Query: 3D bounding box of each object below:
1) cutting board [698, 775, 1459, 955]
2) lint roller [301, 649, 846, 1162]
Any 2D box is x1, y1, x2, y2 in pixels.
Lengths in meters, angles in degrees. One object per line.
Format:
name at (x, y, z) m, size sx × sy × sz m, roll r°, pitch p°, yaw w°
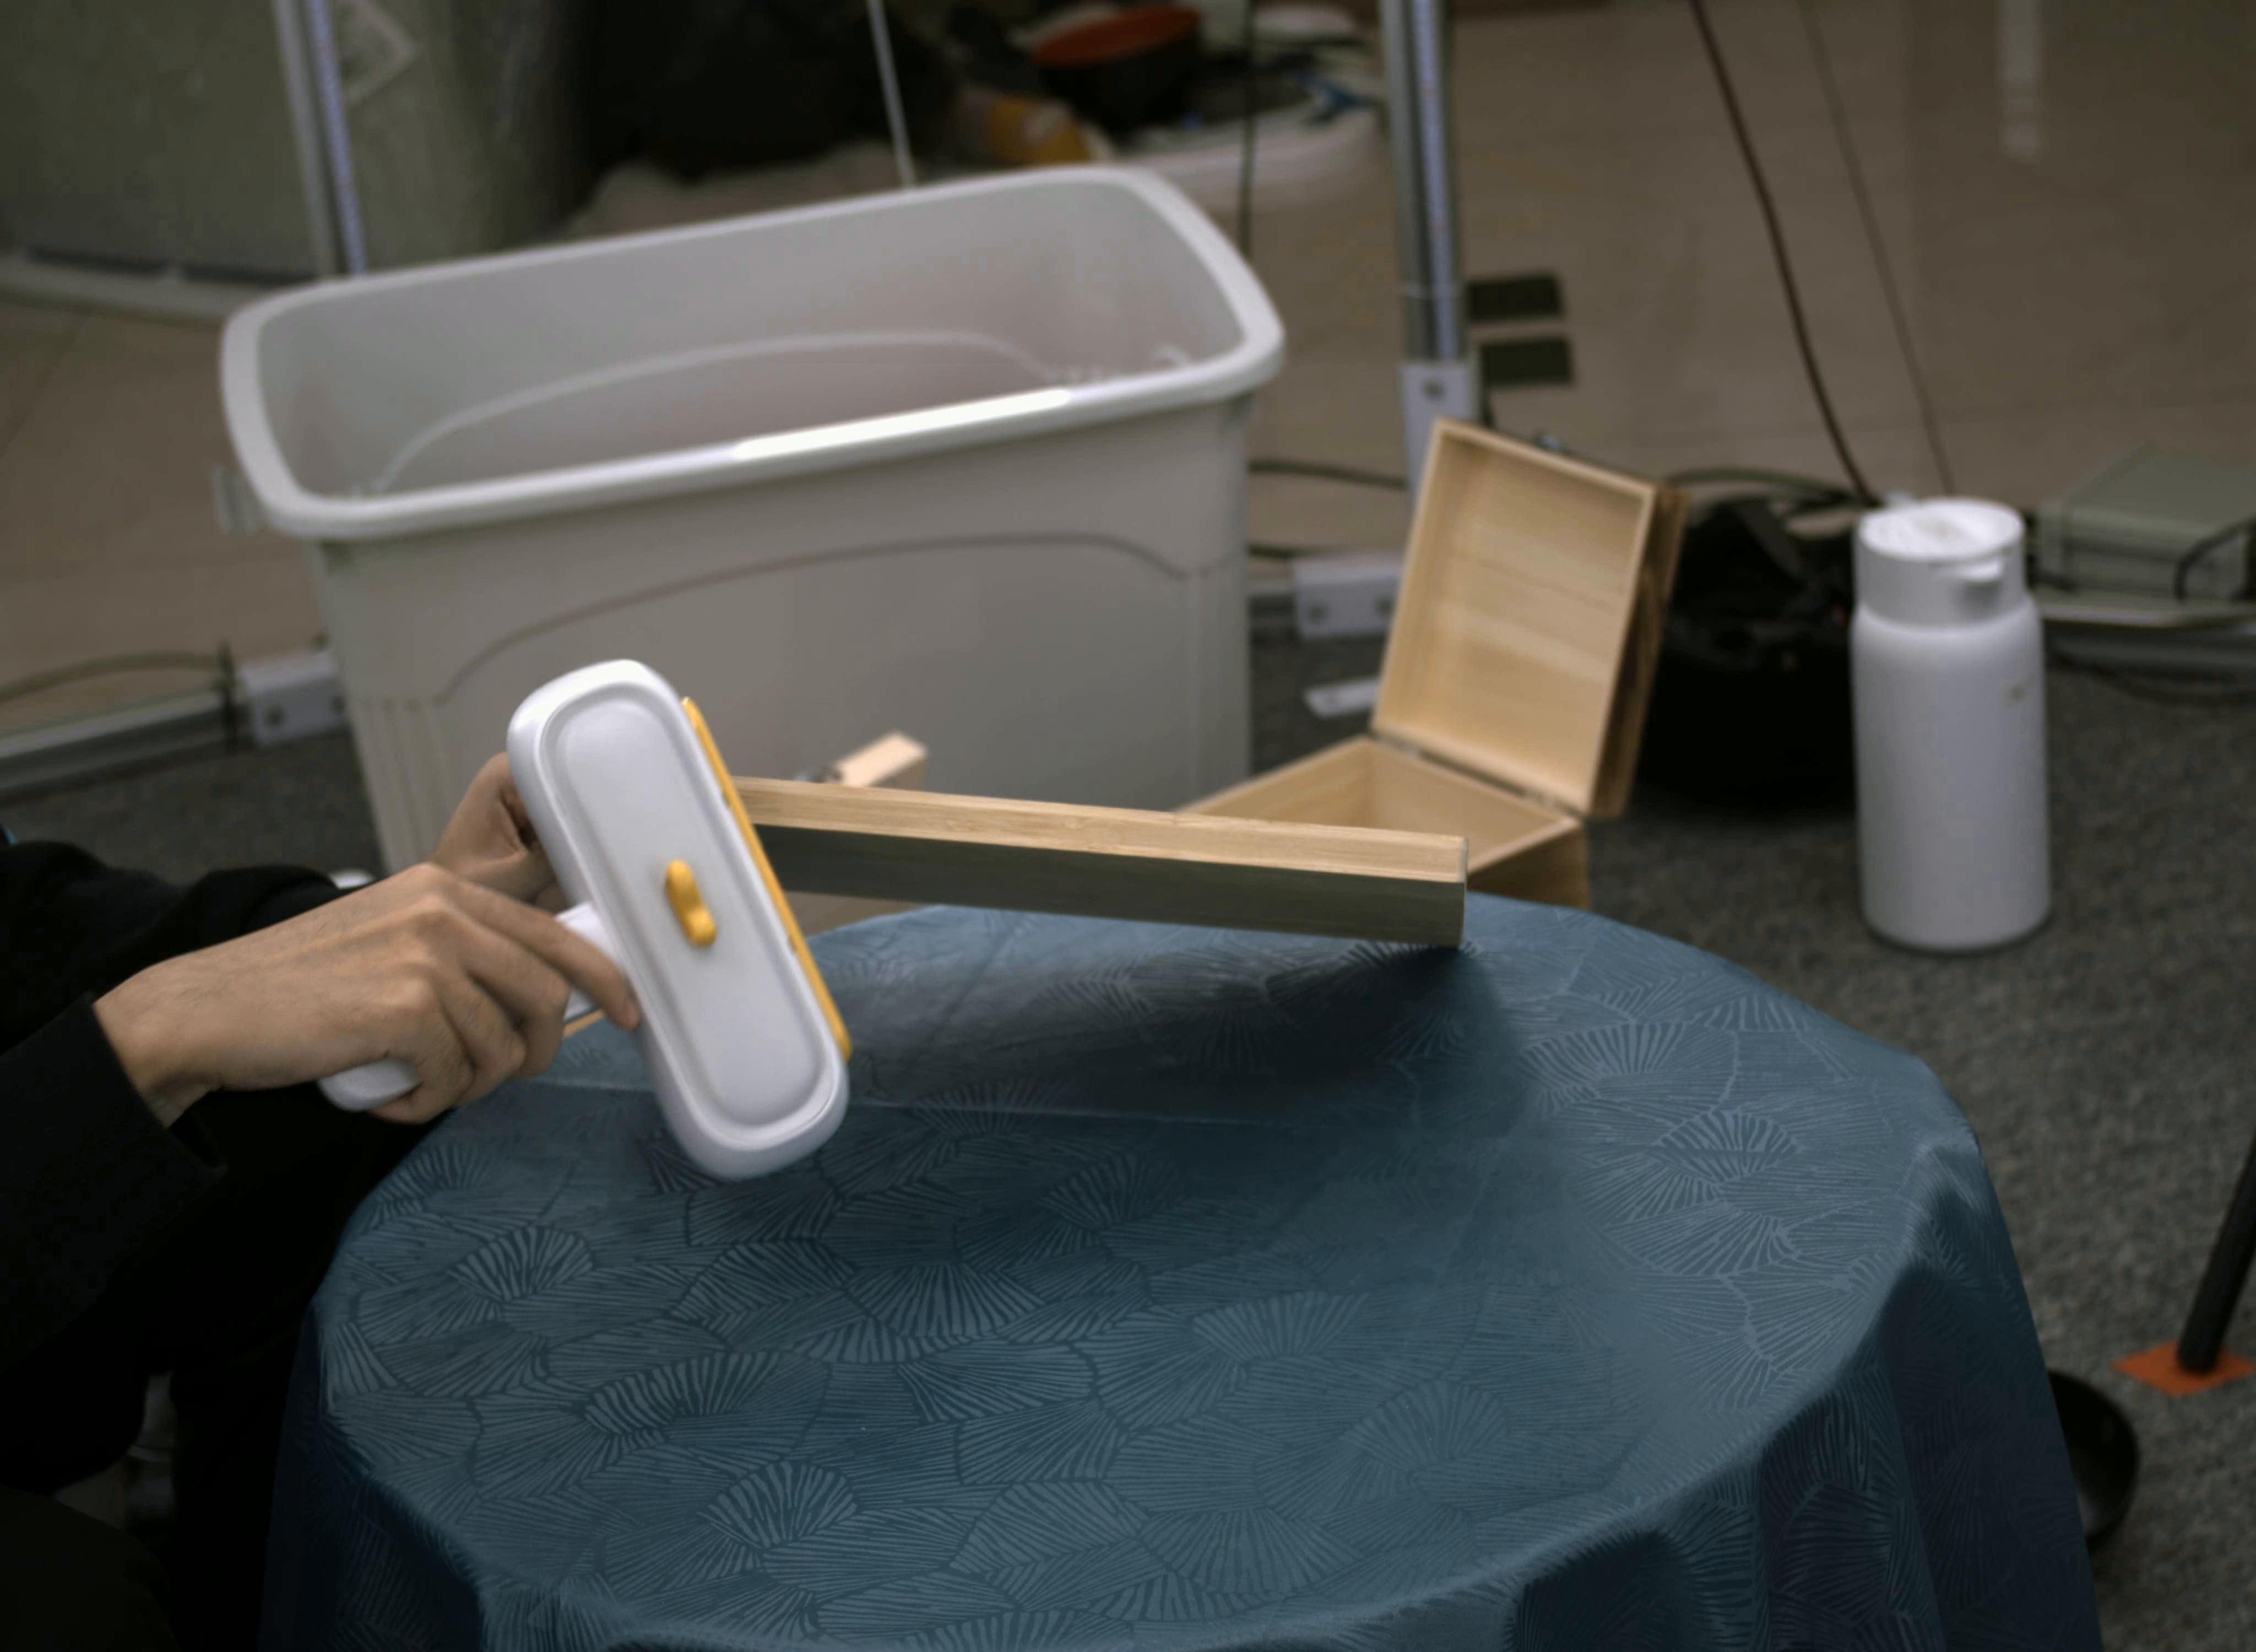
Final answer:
cutting board at (-0.044, 0.014, 2.198) m, size 0.348 × 0.023 × 0.252 m, roll 5°, pitch -7°, yaw 3°
lint roller at (-0.210, 0.053, 1.998) m, size 0.191 × 0.194 × 0.074 m, roll -29°, pitch 7°, yaw -22°
